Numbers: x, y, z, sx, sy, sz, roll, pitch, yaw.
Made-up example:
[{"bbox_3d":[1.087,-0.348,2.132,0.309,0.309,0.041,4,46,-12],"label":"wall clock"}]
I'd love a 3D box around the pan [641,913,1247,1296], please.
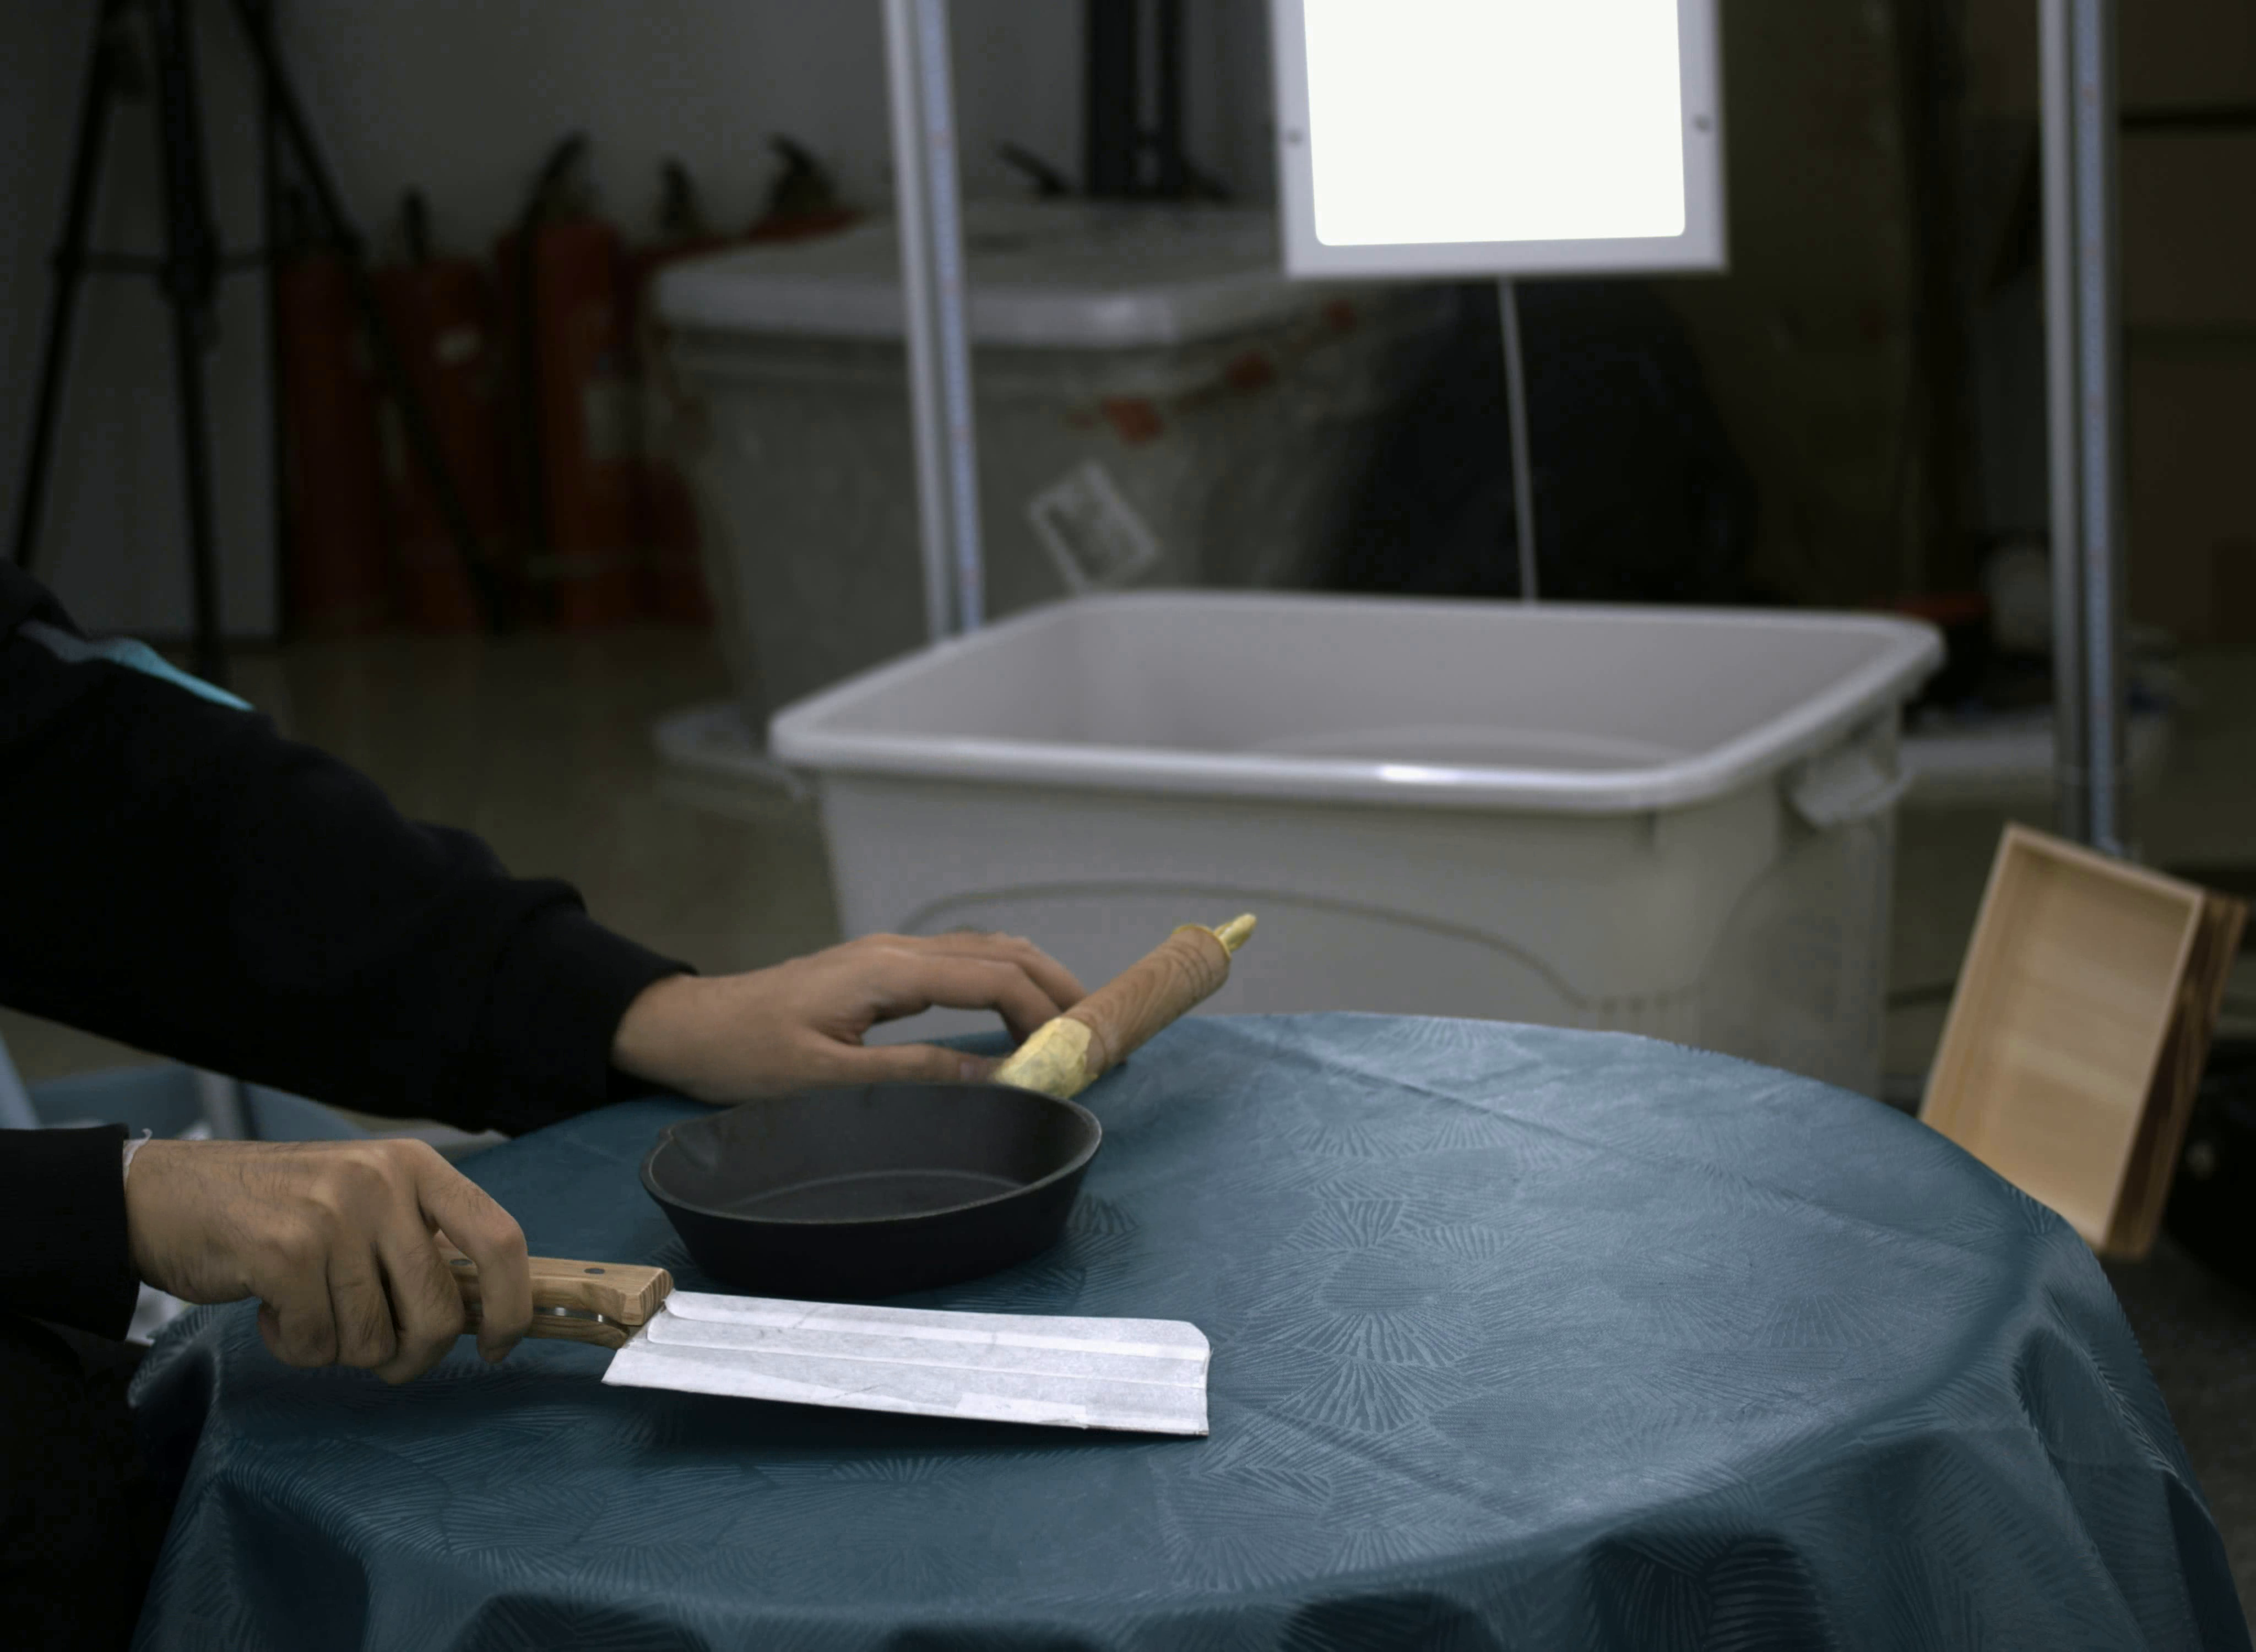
[{"bbox_3d":[-0.041,0.096,1.932,0.172,0.050,0.316,3,18,34],"label":"pan"}]

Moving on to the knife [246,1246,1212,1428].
[{"bbox_3d":[-0.124,0.159,1.724,0.317,0.022,0.112,5,16,11],"label":"knife"}]
